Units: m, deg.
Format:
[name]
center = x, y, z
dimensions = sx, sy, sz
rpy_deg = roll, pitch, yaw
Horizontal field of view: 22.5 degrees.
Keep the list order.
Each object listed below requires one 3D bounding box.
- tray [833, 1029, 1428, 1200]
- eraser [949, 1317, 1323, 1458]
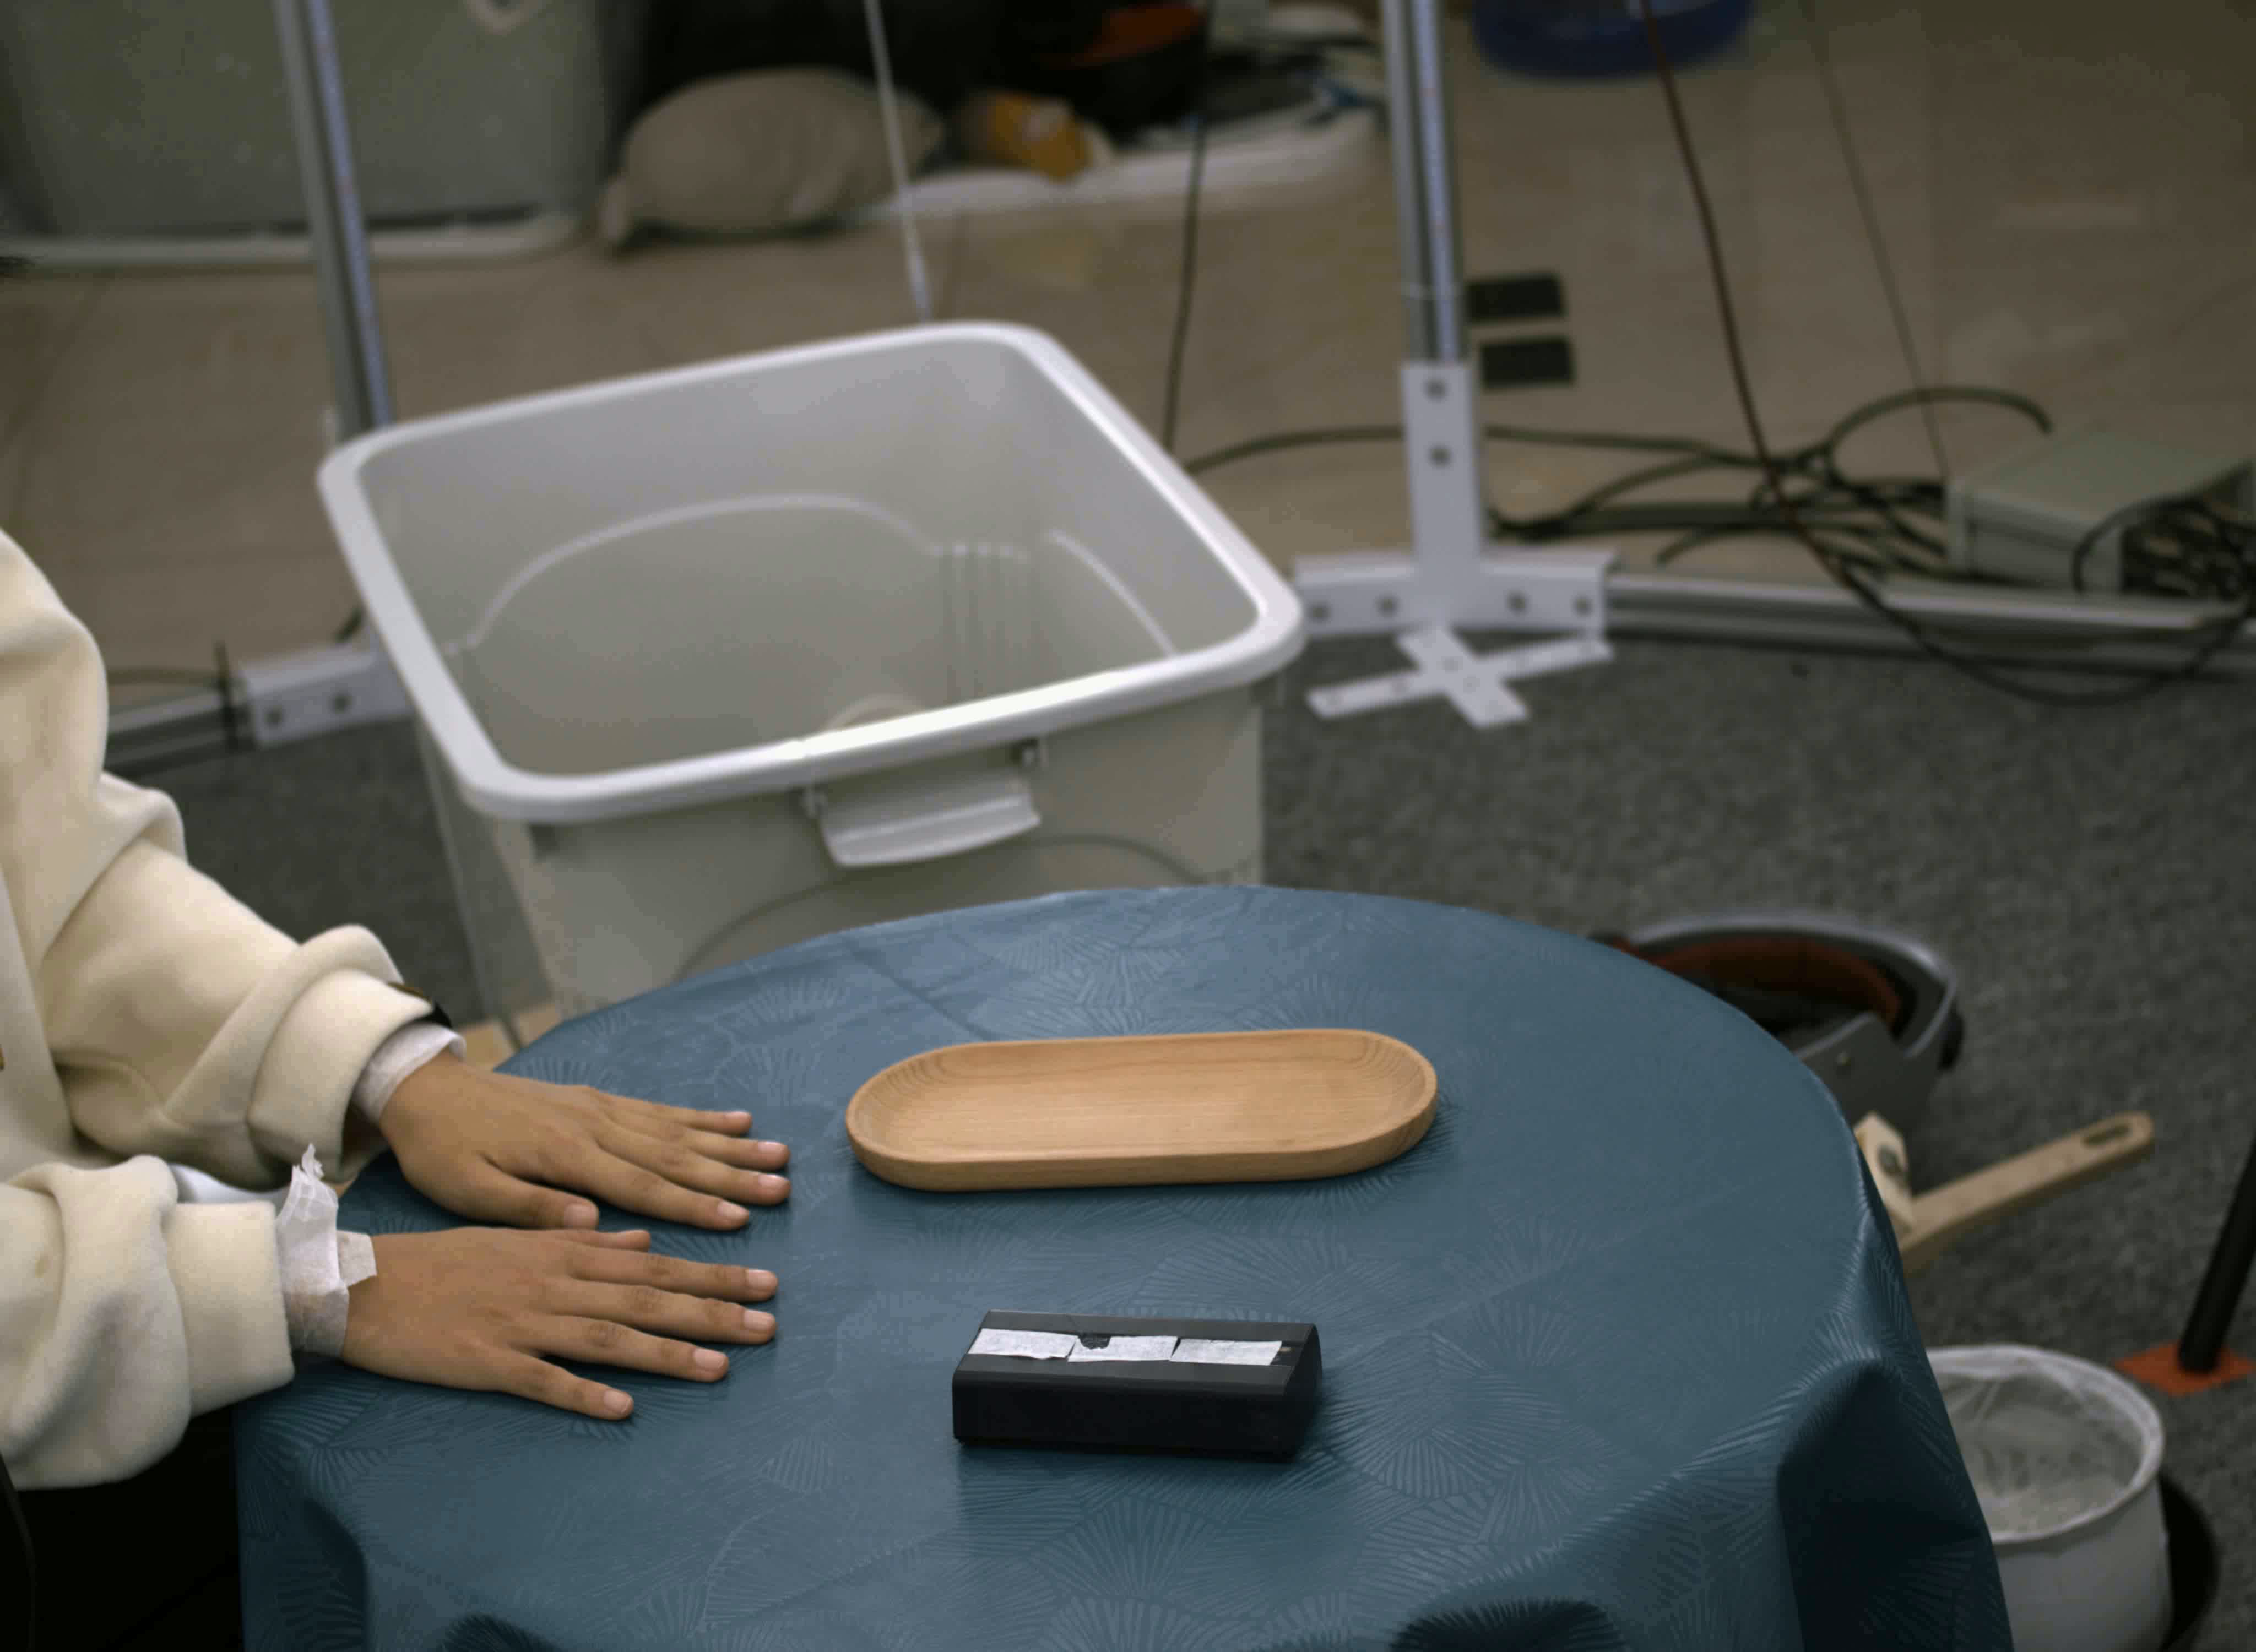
[tray]
center = 0.001, 0.112, 2.187
dimensions = 0.231, 0.020, 0.100
rpy_deg = -5, 24, 8
[eraser]
center = 0.004, 0.196, 1.989
dimensions = 0.125, 0.031, 0.053
rpy_deg = 2, 20, 15
